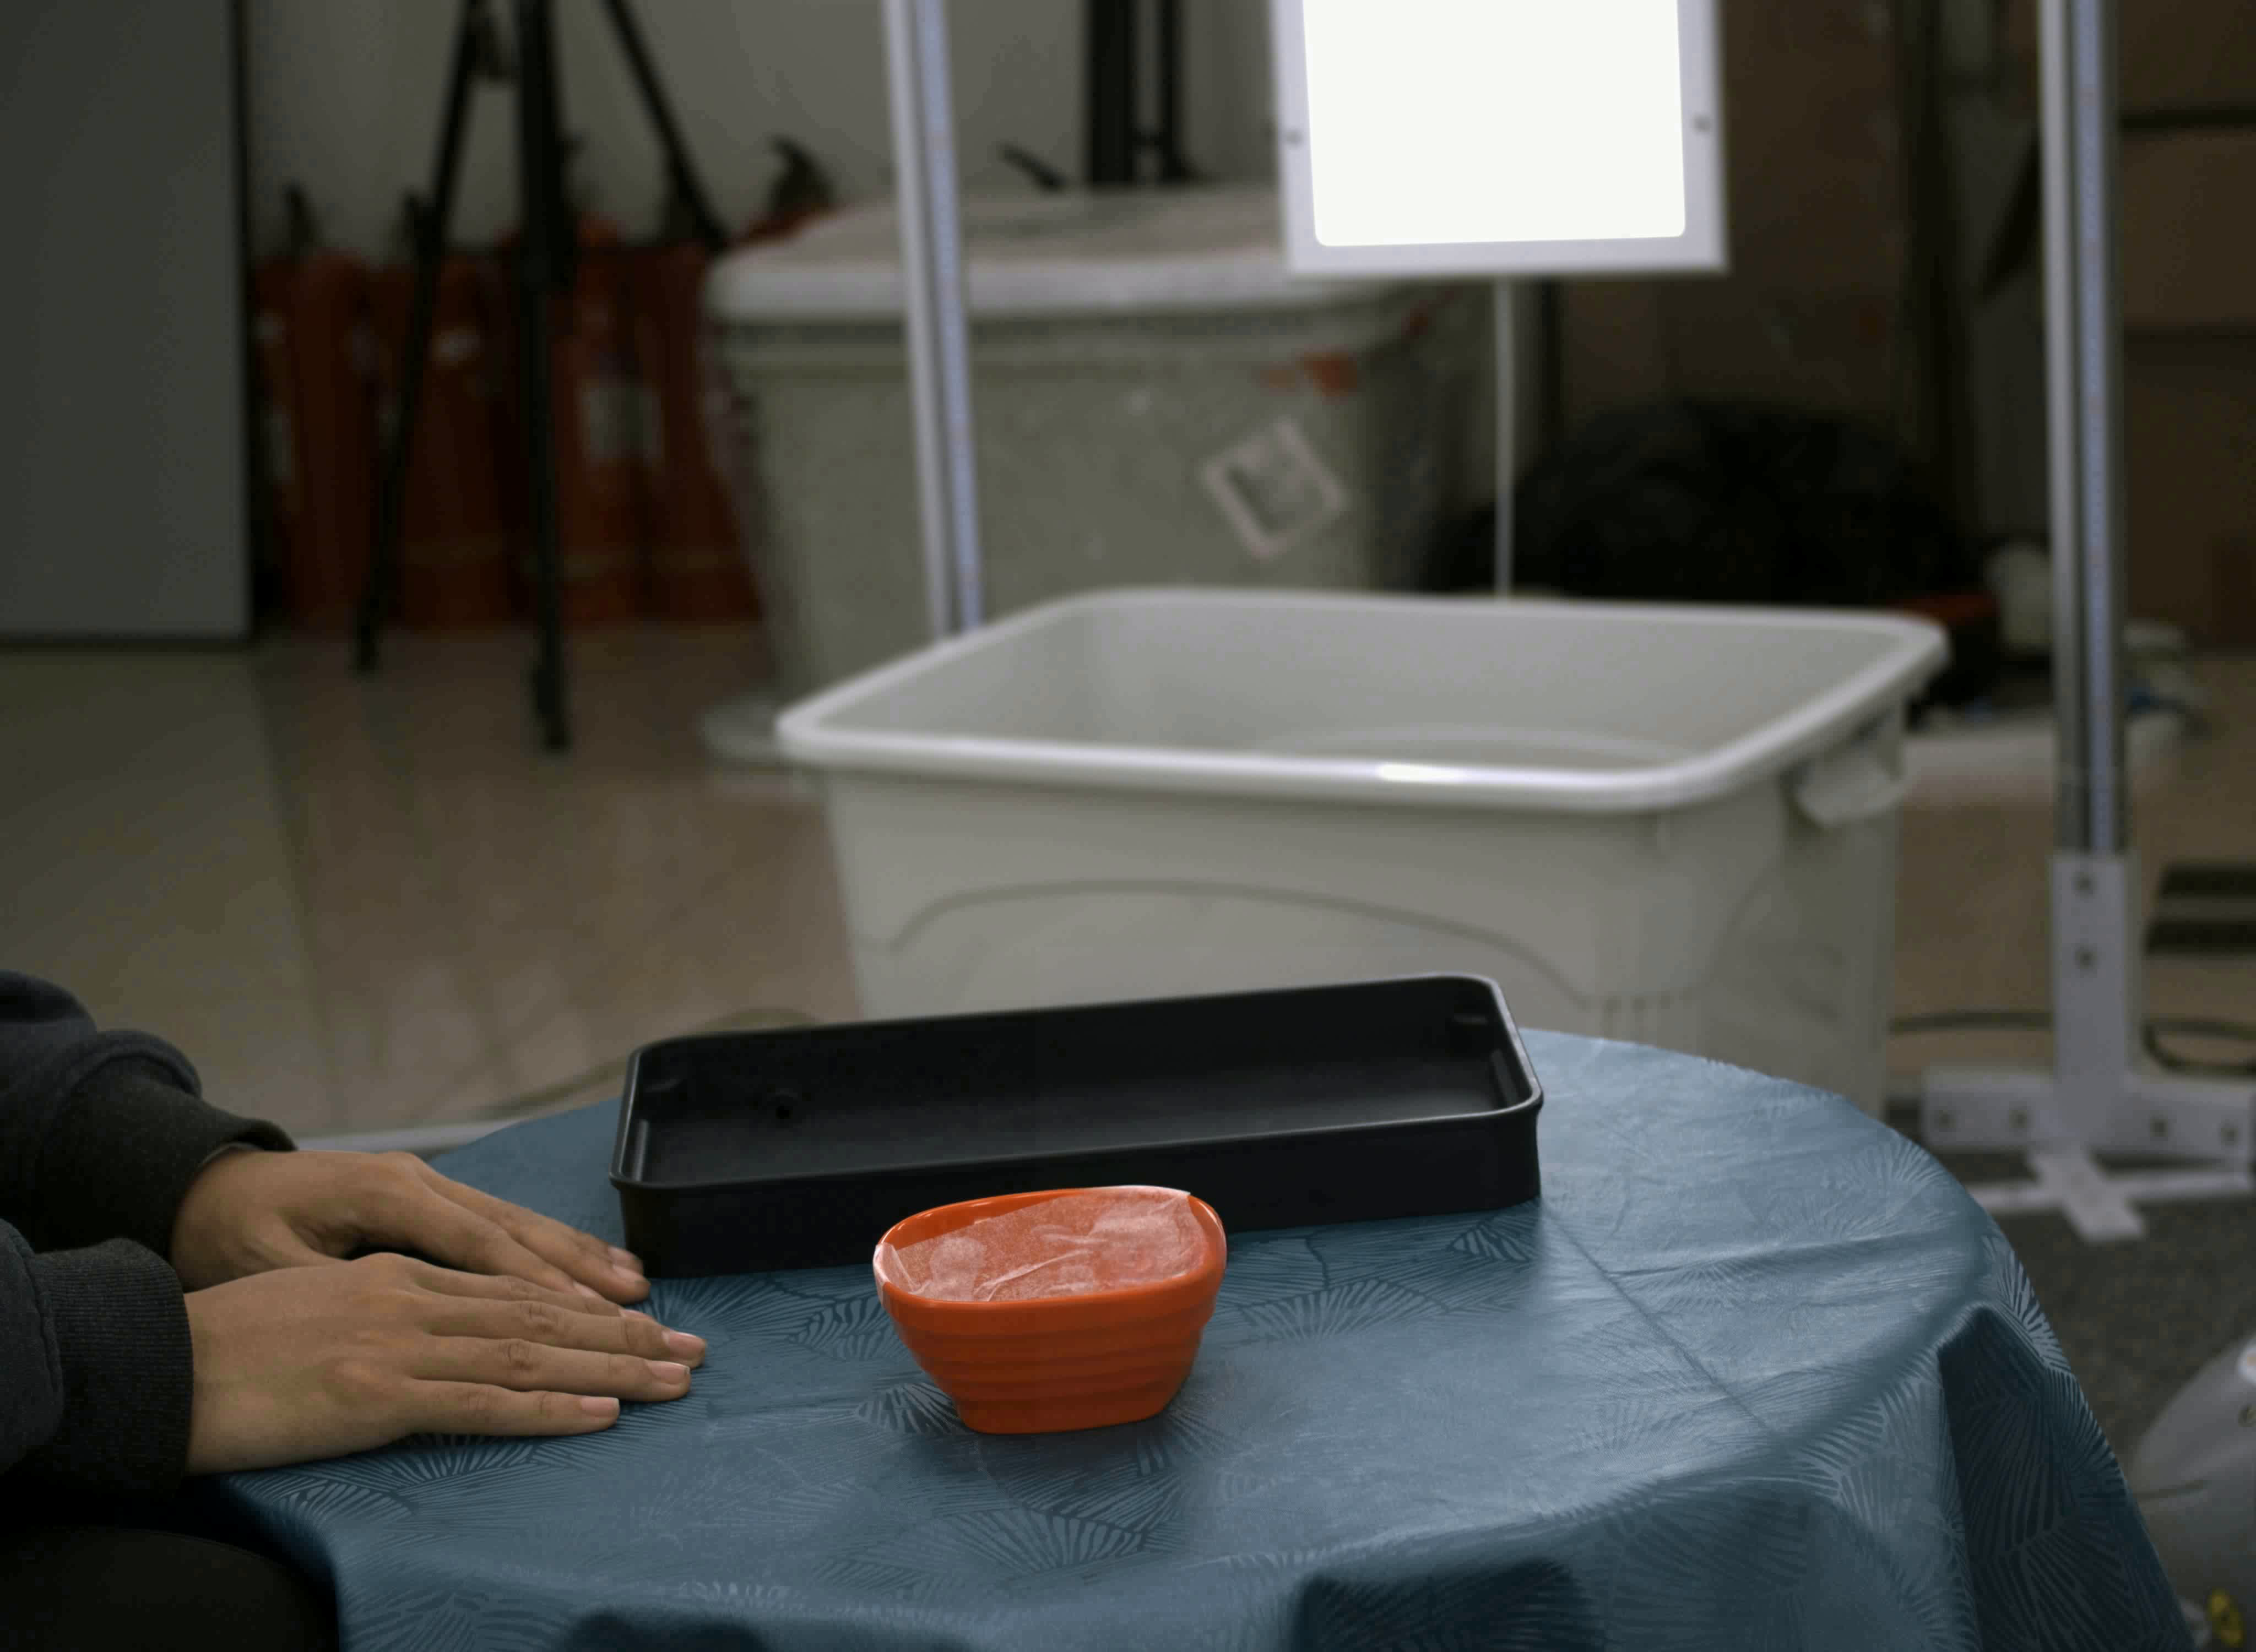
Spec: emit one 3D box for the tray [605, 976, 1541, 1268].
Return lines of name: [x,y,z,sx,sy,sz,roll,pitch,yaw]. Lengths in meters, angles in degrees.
tray: [-0.020,0.101,1.925,0.317,0.037,0.184,-4,13,0]

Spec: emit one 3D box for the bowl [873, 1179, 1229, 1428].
bowl: [-0.023,0.149,1.696,0.118,0.051,0.119,-3,14,-1]
